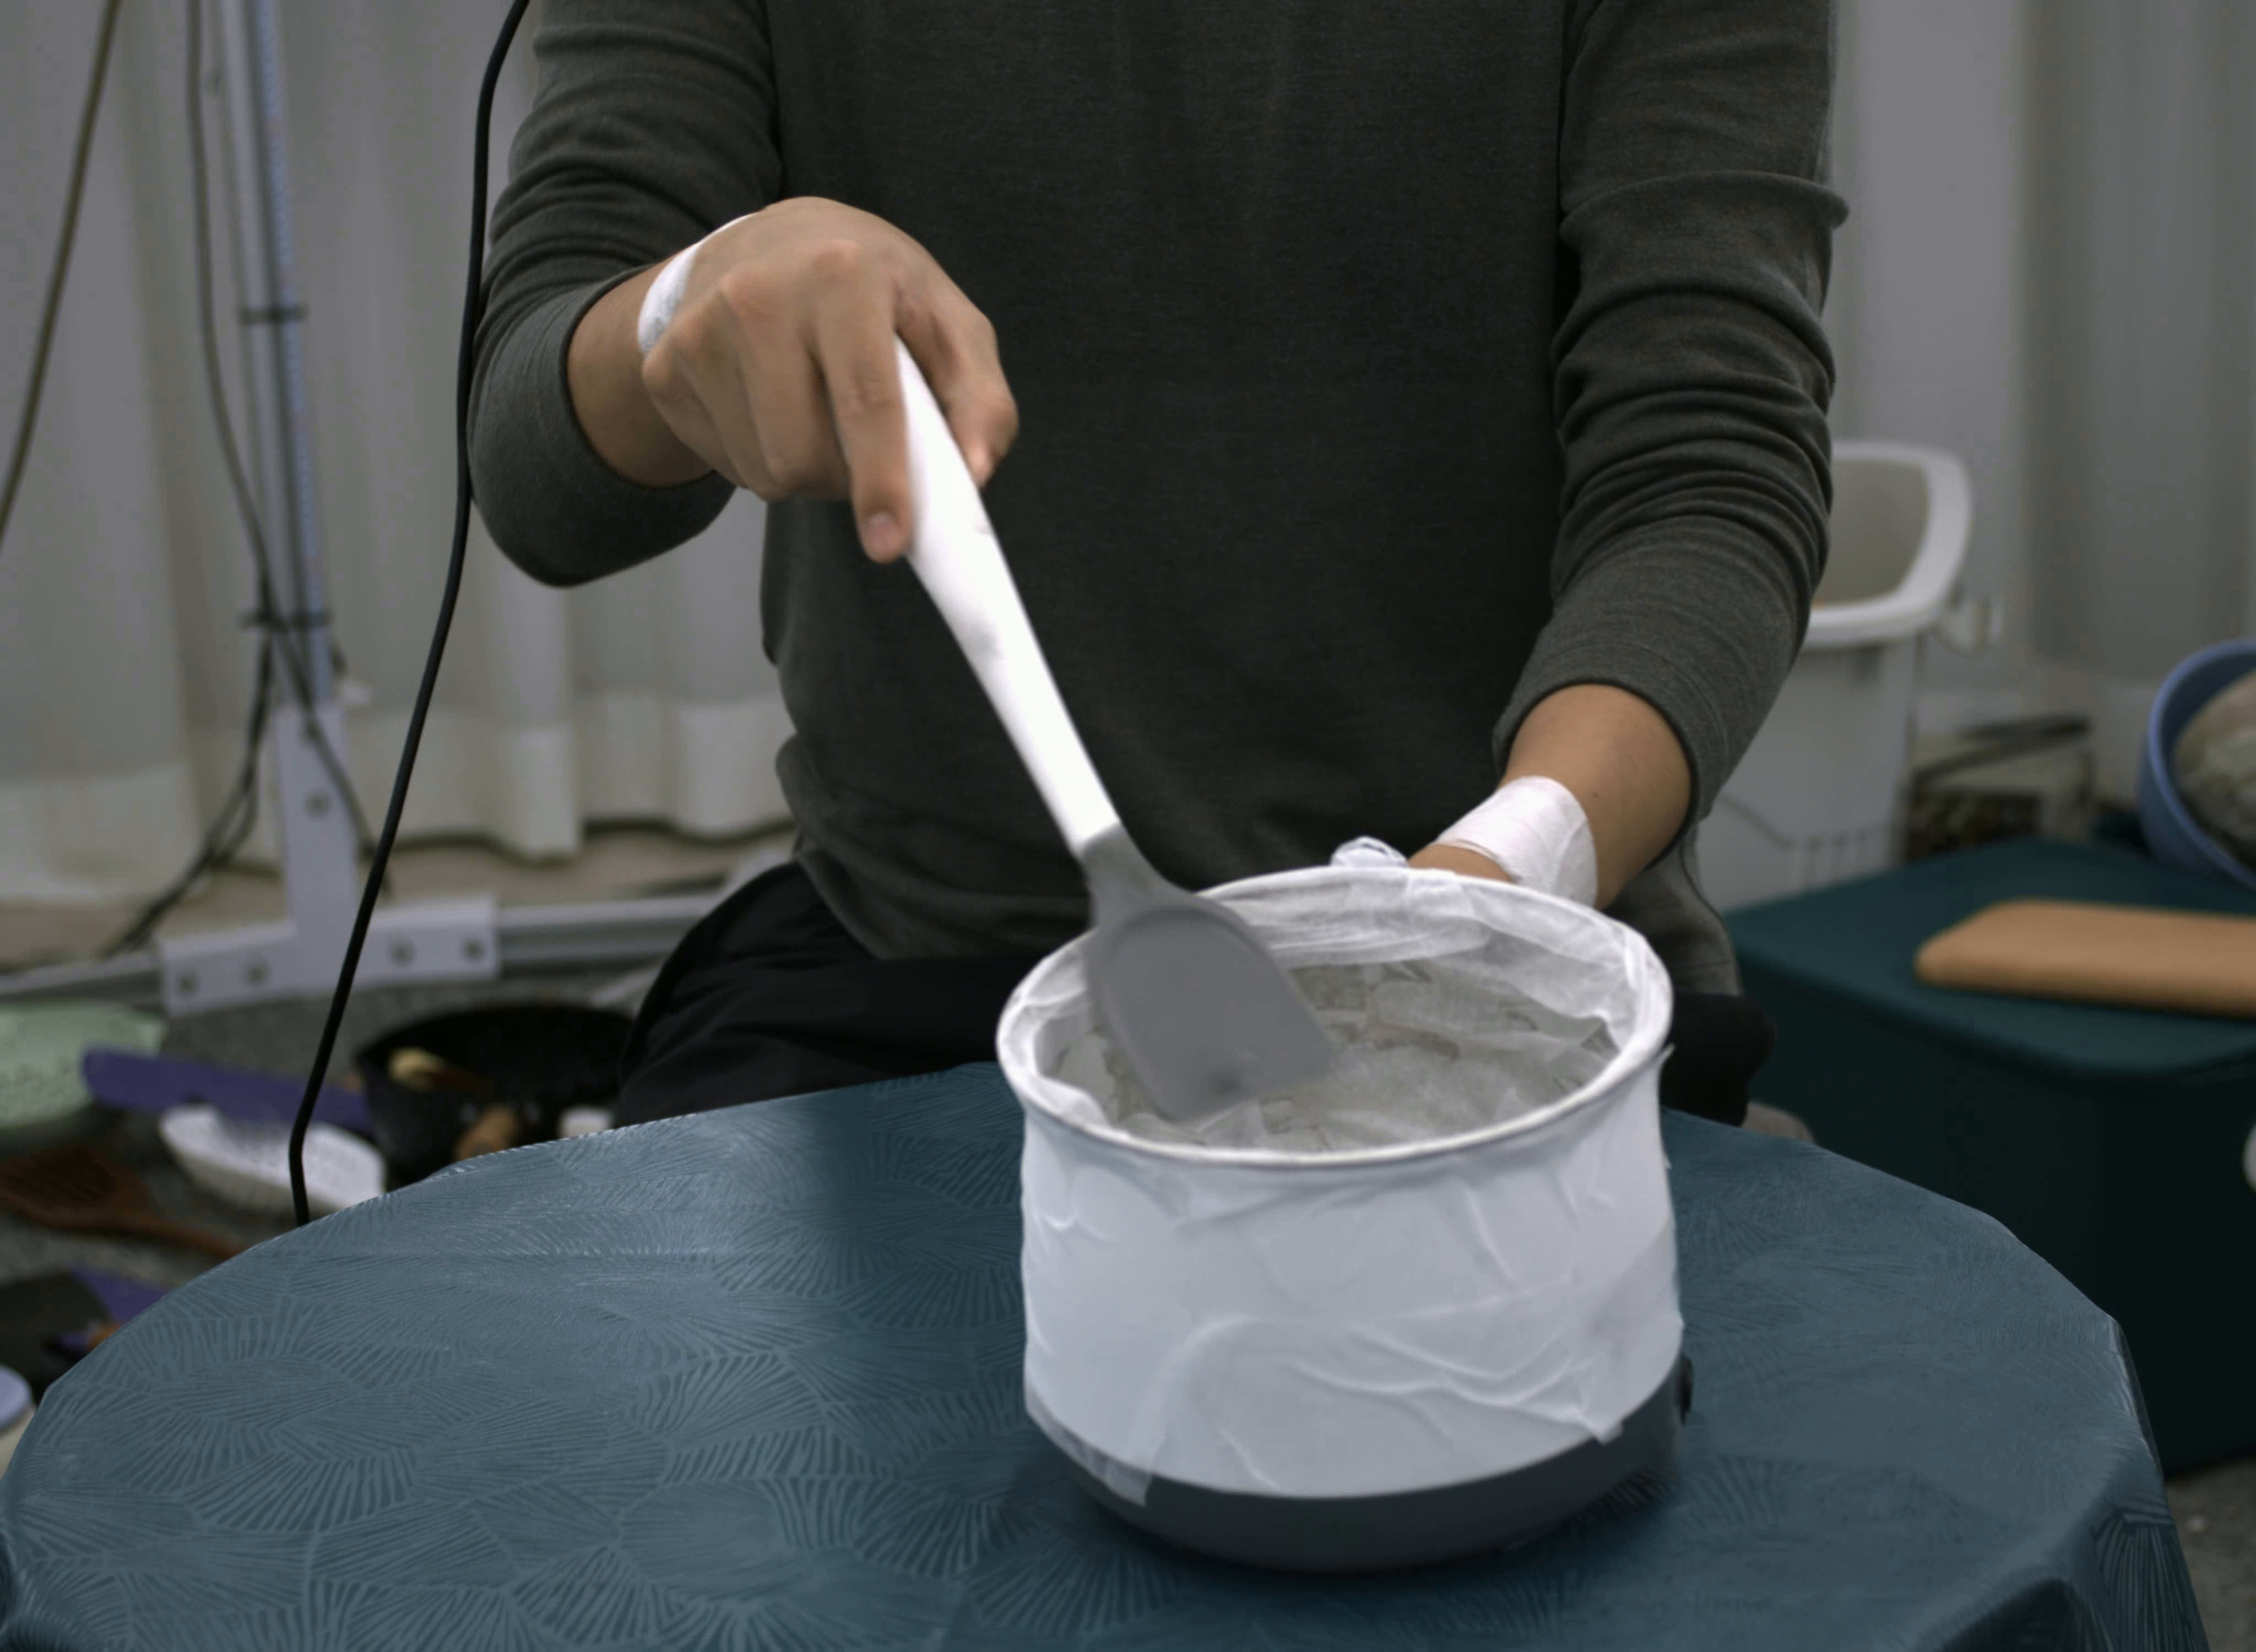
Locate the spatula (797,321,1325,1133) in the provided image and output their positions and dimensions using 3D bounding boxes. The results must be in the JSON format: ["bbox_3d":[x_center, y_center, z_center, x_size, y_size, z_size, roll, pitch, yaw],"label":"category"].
[{"bbox_3d":[-0.025,-0.029,1.488,0.058,0.032,0.292,-17,53,-14],"label":"spatula"}]

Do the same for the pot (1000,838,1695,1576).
[{"bbox_3d":[0.062,0.095,1.474,0.178,0.135,0.236,-1,22,8],"label":"pot"}]
